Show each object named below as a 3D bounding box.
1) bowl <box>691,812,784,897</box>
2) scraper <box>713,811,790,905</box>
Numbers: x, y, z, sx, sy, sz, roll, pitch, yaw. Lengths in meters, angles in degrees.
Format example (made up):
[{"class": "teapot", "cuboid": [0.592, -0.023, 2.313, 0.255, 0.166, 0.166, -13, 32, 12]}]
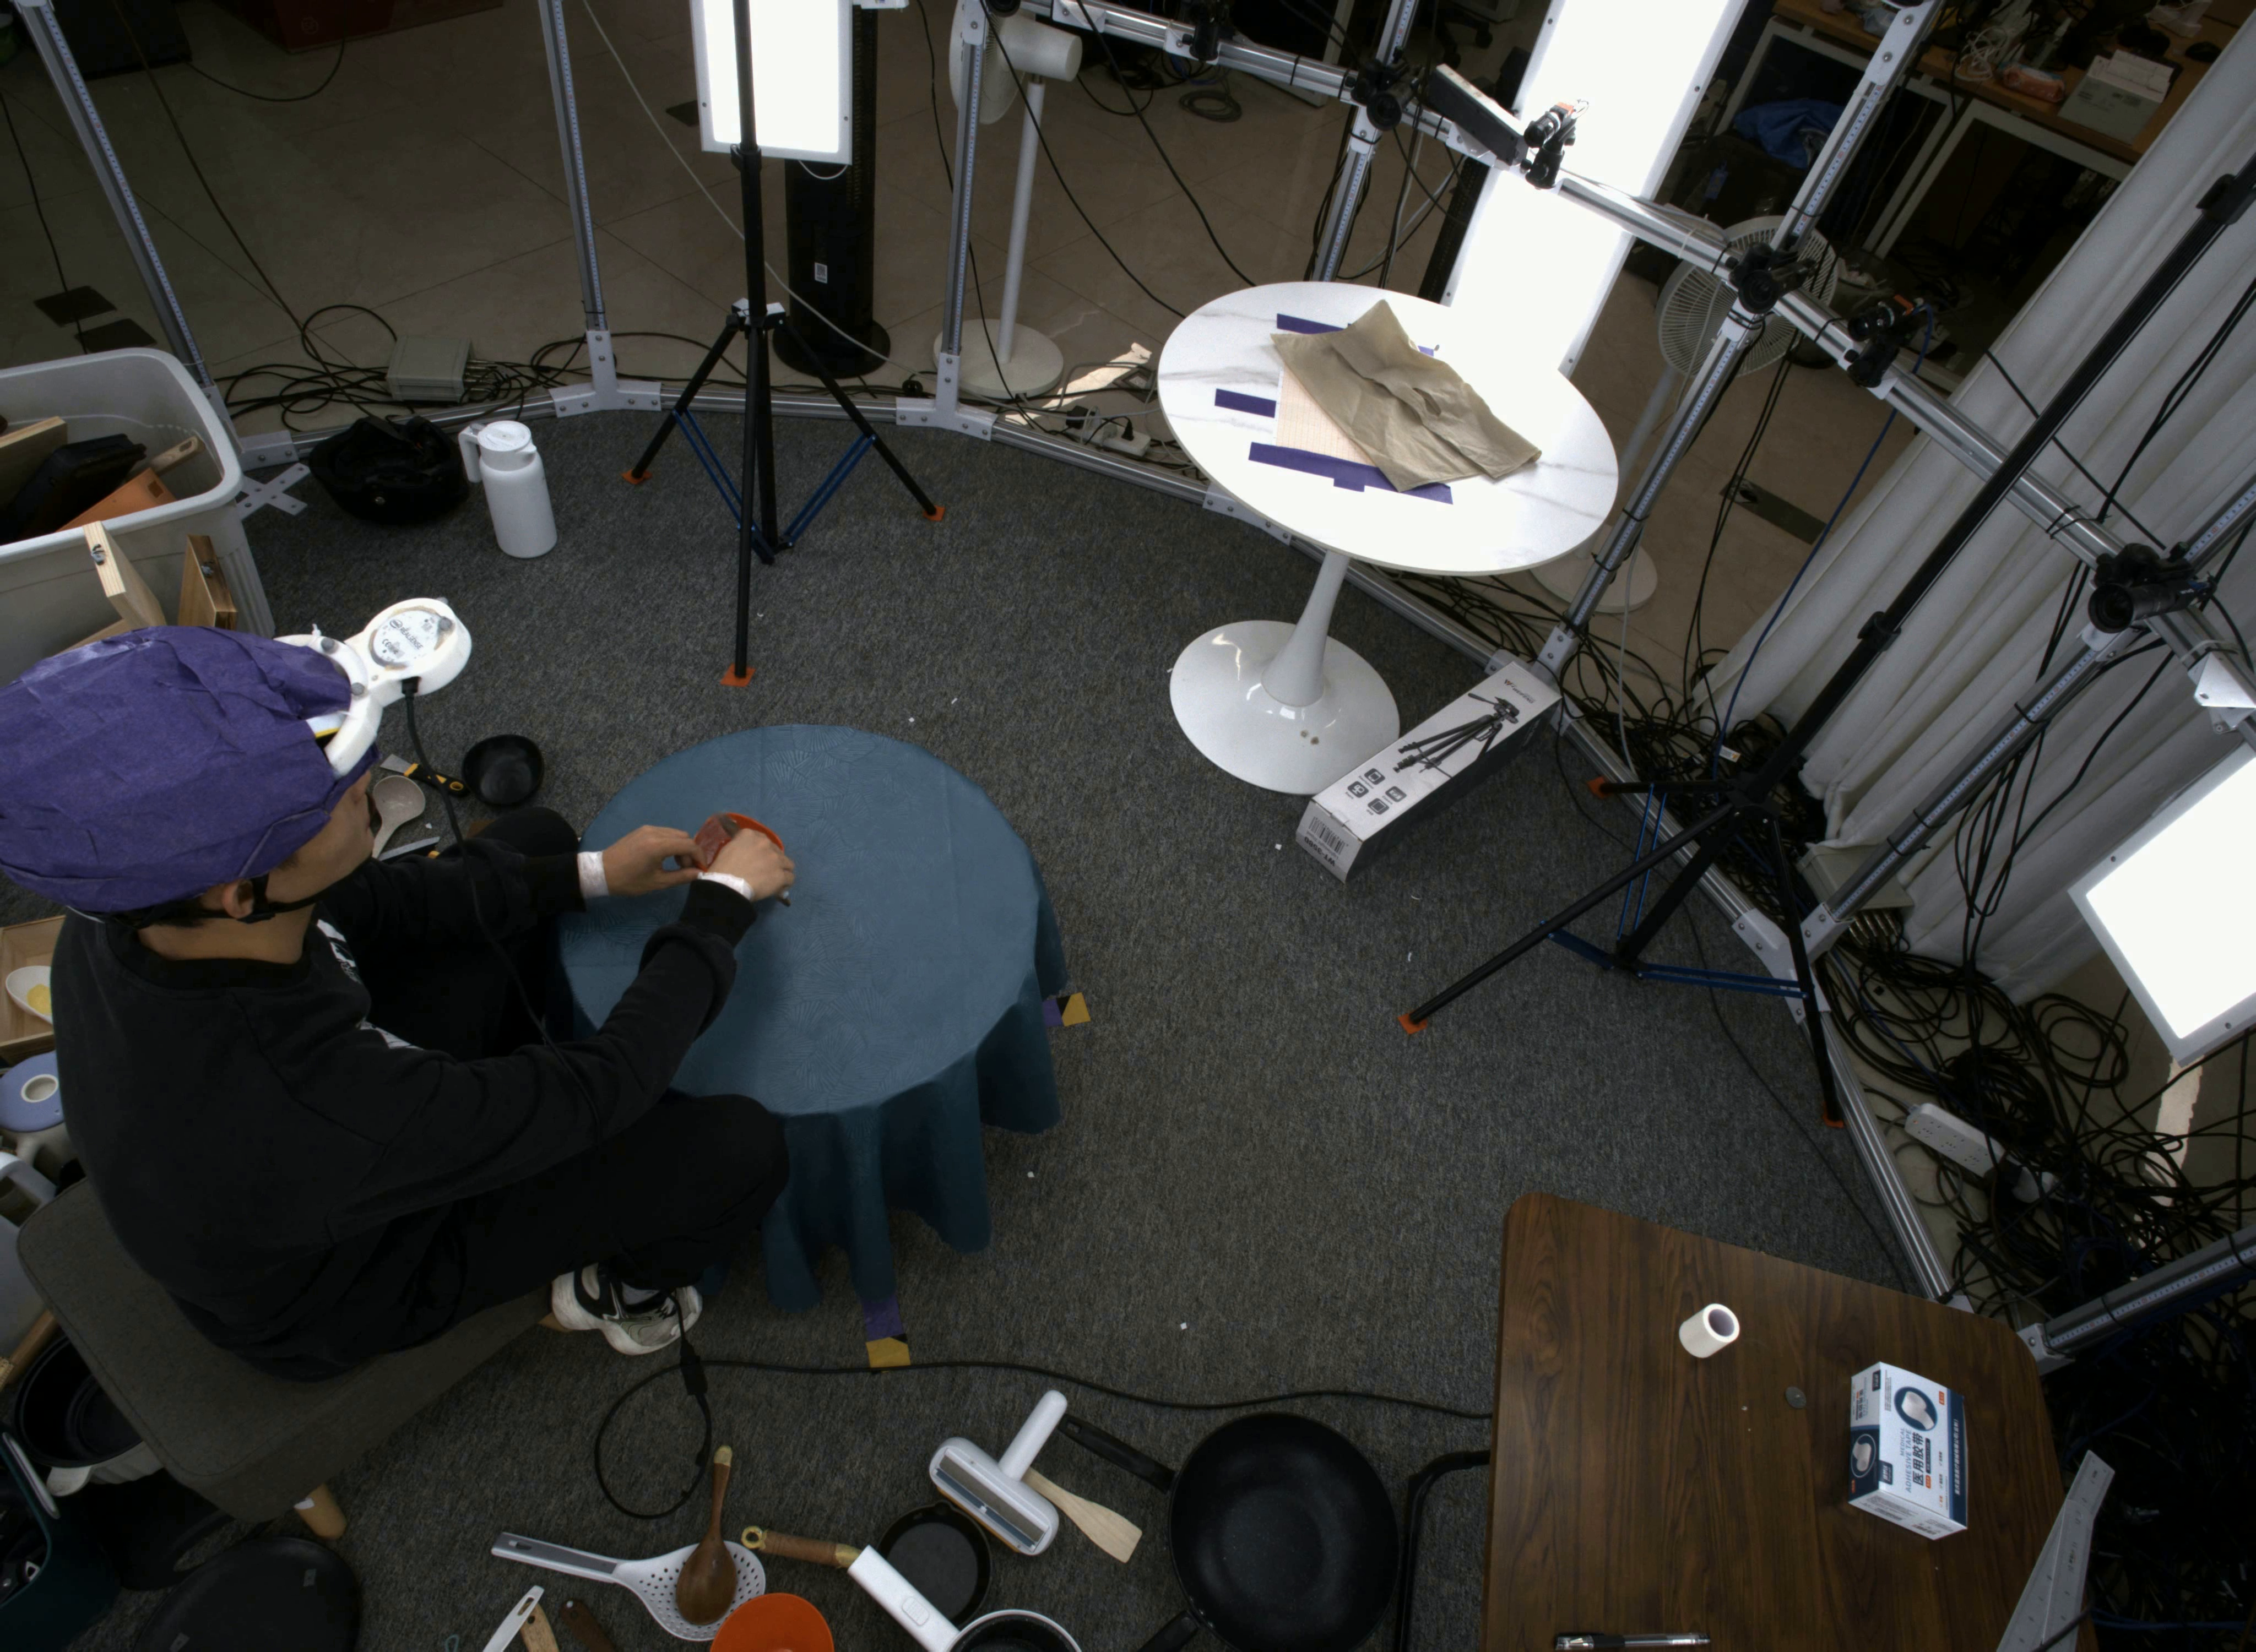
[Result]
[{"class": "bowl", "cuboid": [-0.498, 0.043, 1.634, 0.121, 0.051, 0.116, 22, 45, -21]}, {"class": "scraper", "cuboid": [-0.449, 0.041, 1.561, 0.011, 0.079, 0.203, -48, 42, -3]}]
